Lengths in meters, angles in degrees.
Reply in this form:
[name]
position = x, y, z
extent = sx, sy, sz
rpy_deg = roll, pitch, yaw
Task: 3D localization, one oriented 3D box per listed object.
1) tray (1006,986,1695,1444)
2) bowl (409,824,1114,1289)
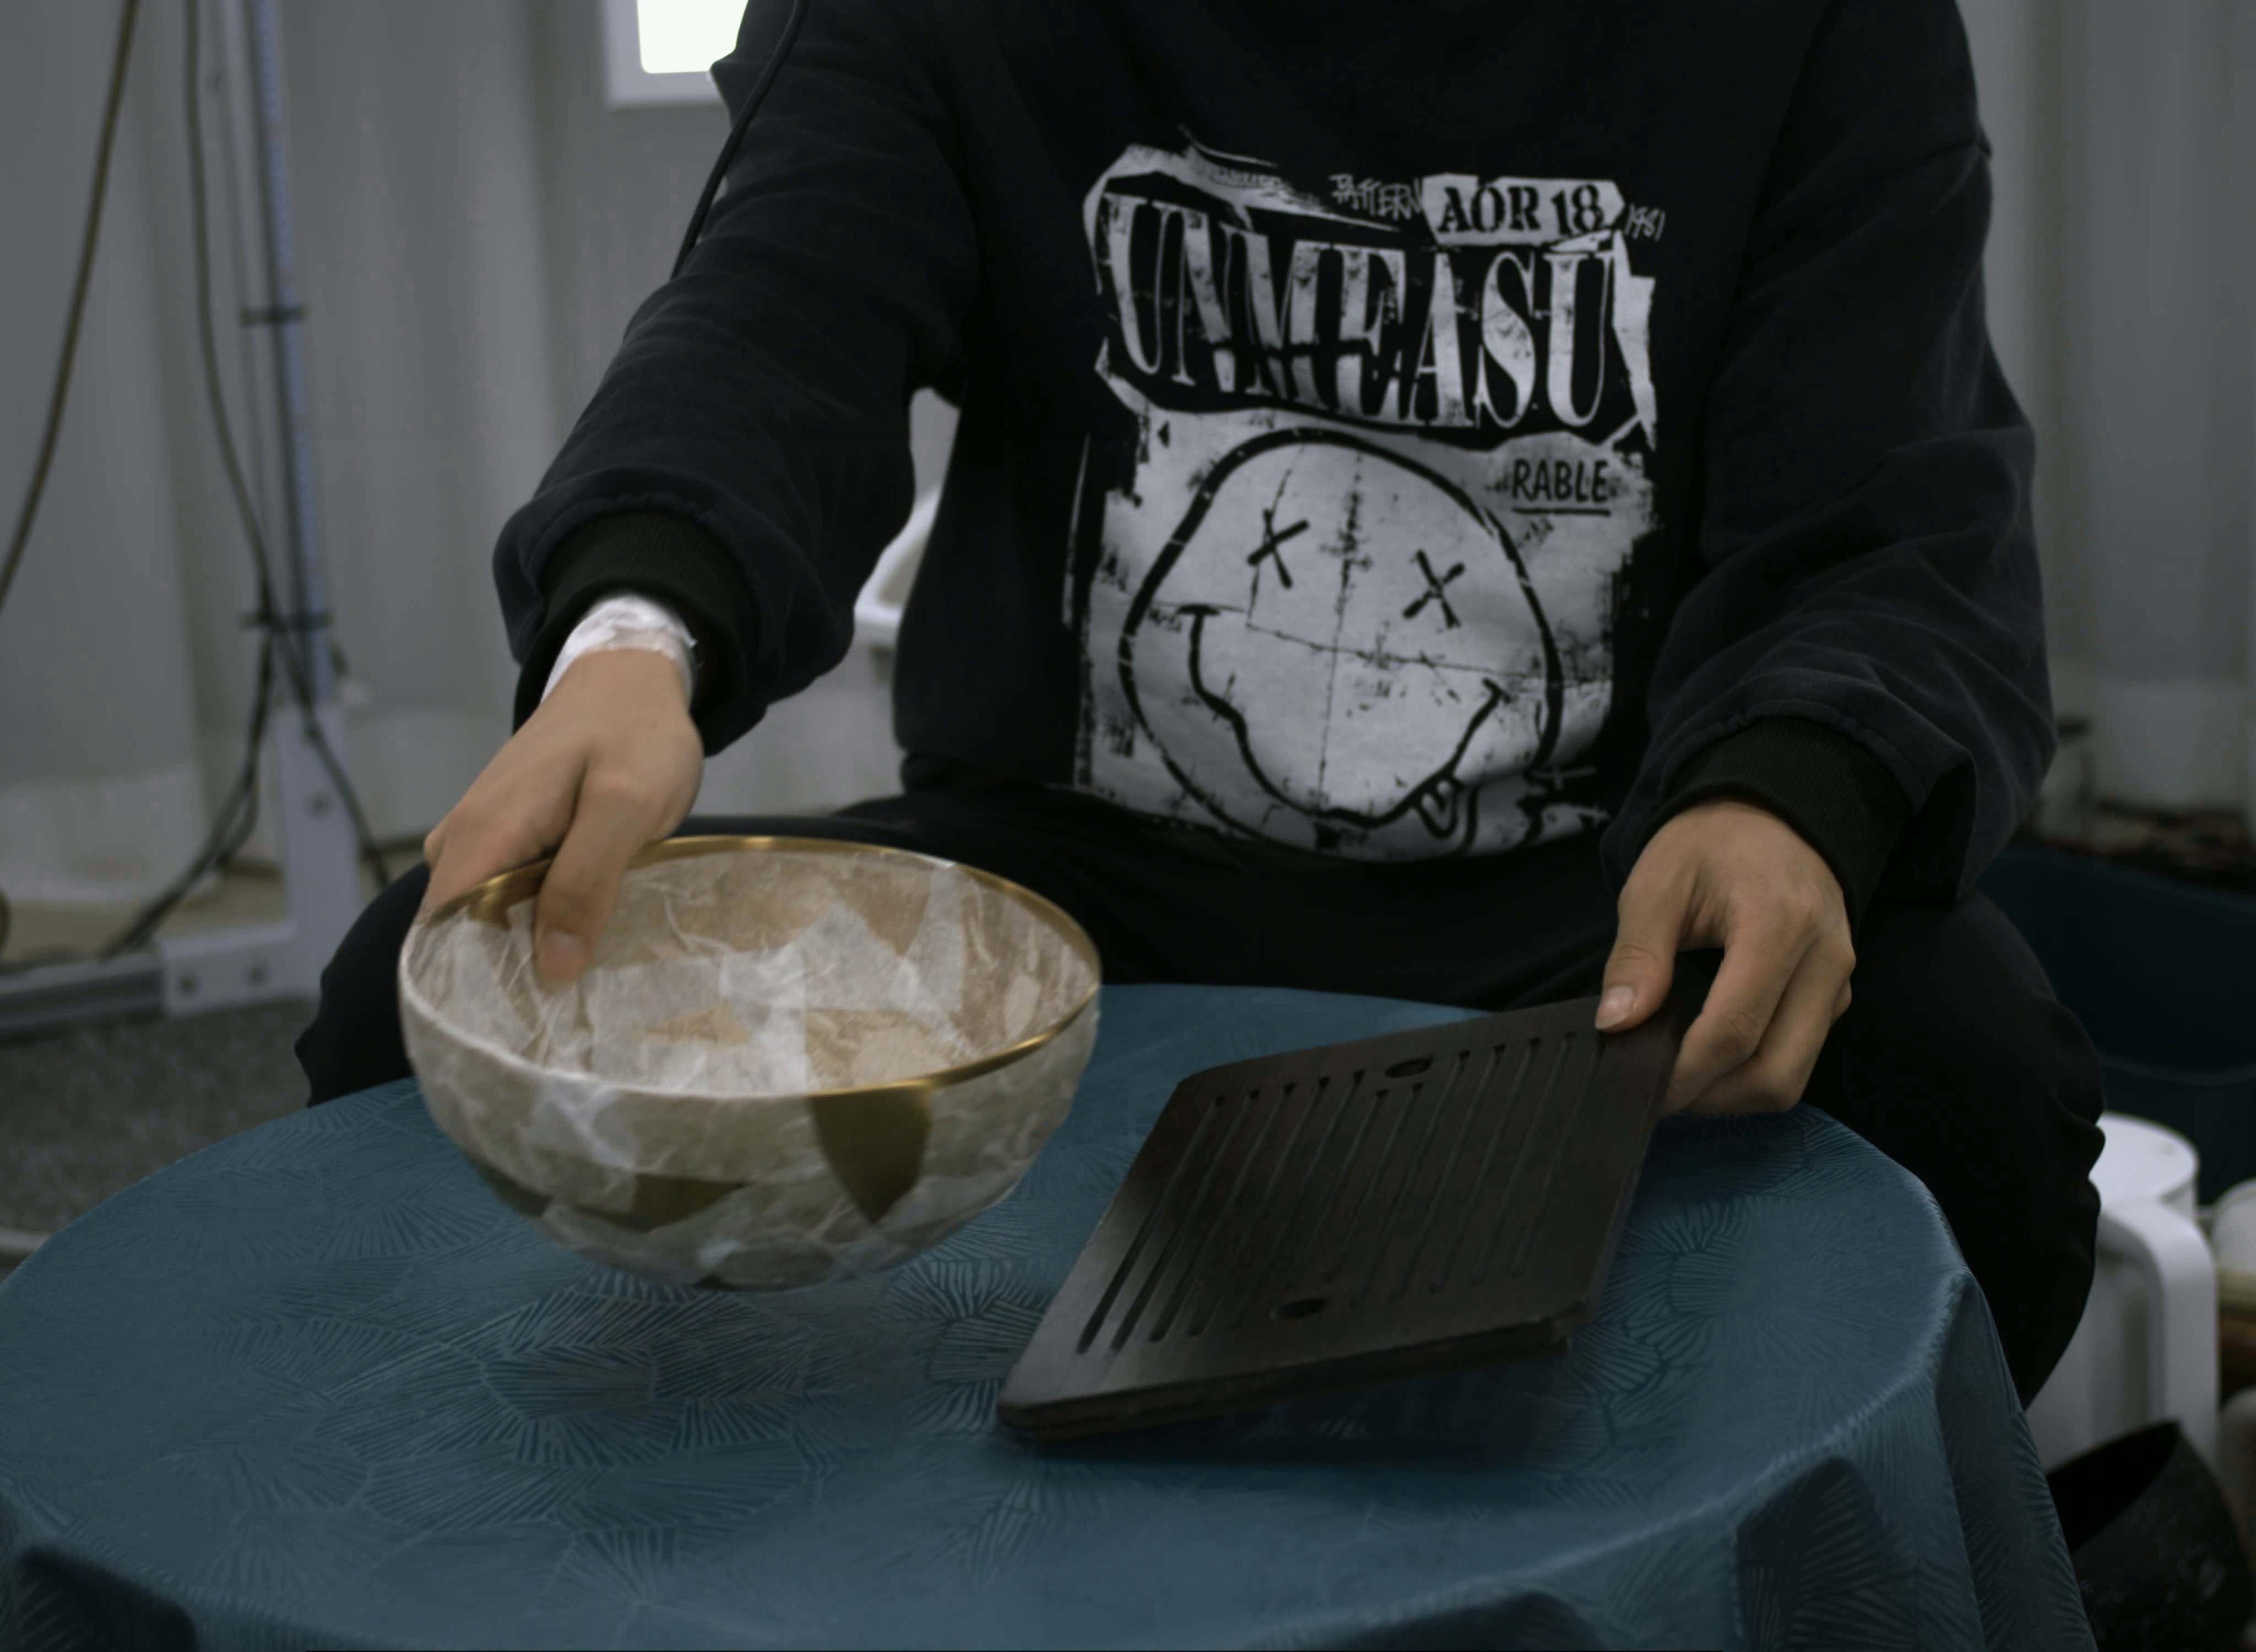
[tray]
position = 0.074, 0.112, 1.616
extent = 0.170, 0.018, 0.307
rpy_deg = -11, 13, 14
[bowl]
position = -0.103, 0.077, 1.584
extent = 0.214, 0.094, 0.216
rpy_deg = 2, 19, -1
